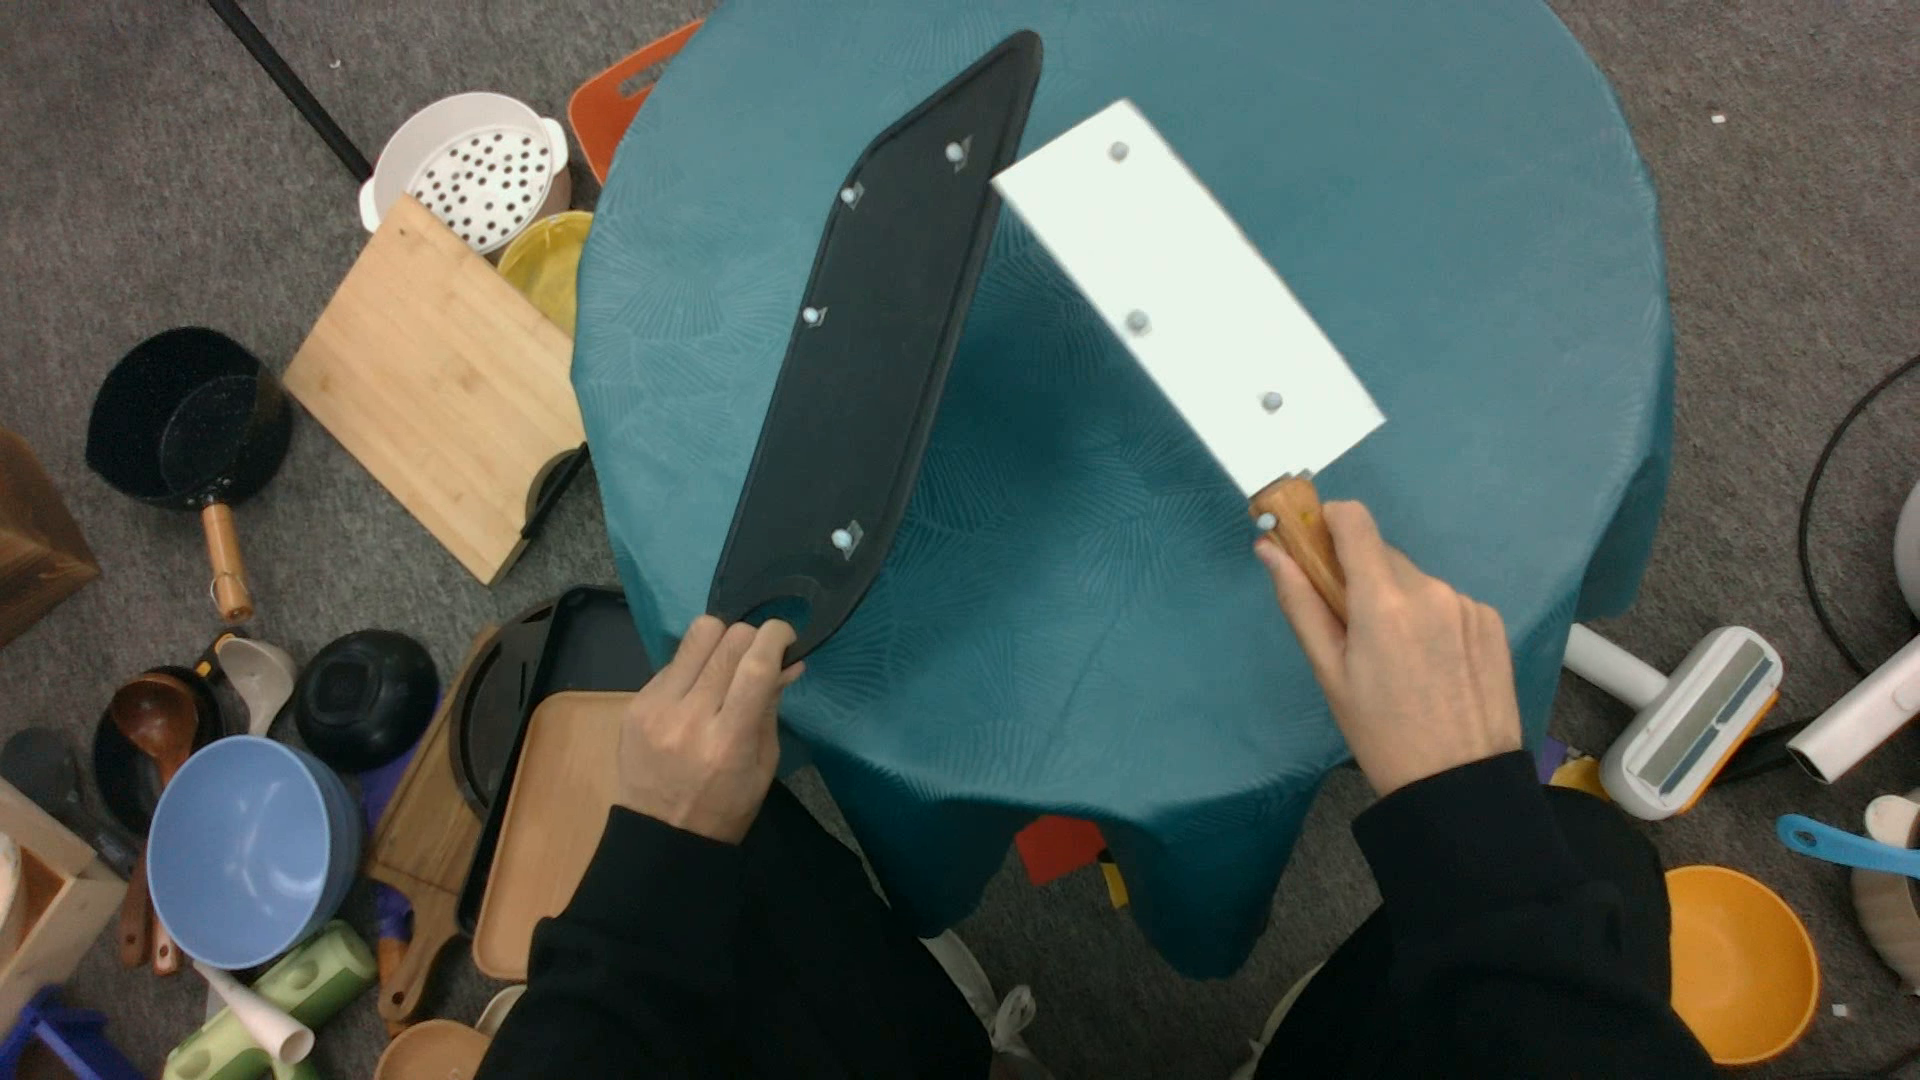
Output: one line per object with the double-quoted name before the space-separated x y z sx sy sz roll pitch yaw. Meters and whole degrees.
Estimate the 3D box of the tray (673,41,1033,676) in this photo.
"tray" -0.060 -0.088 0.673 0.010 0.210 0.326 27 70 -30

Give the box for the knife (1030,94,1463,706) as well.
"knife" 0.145 -0.073 0.624 0.093 0.021 0.306 -30 84 -25
